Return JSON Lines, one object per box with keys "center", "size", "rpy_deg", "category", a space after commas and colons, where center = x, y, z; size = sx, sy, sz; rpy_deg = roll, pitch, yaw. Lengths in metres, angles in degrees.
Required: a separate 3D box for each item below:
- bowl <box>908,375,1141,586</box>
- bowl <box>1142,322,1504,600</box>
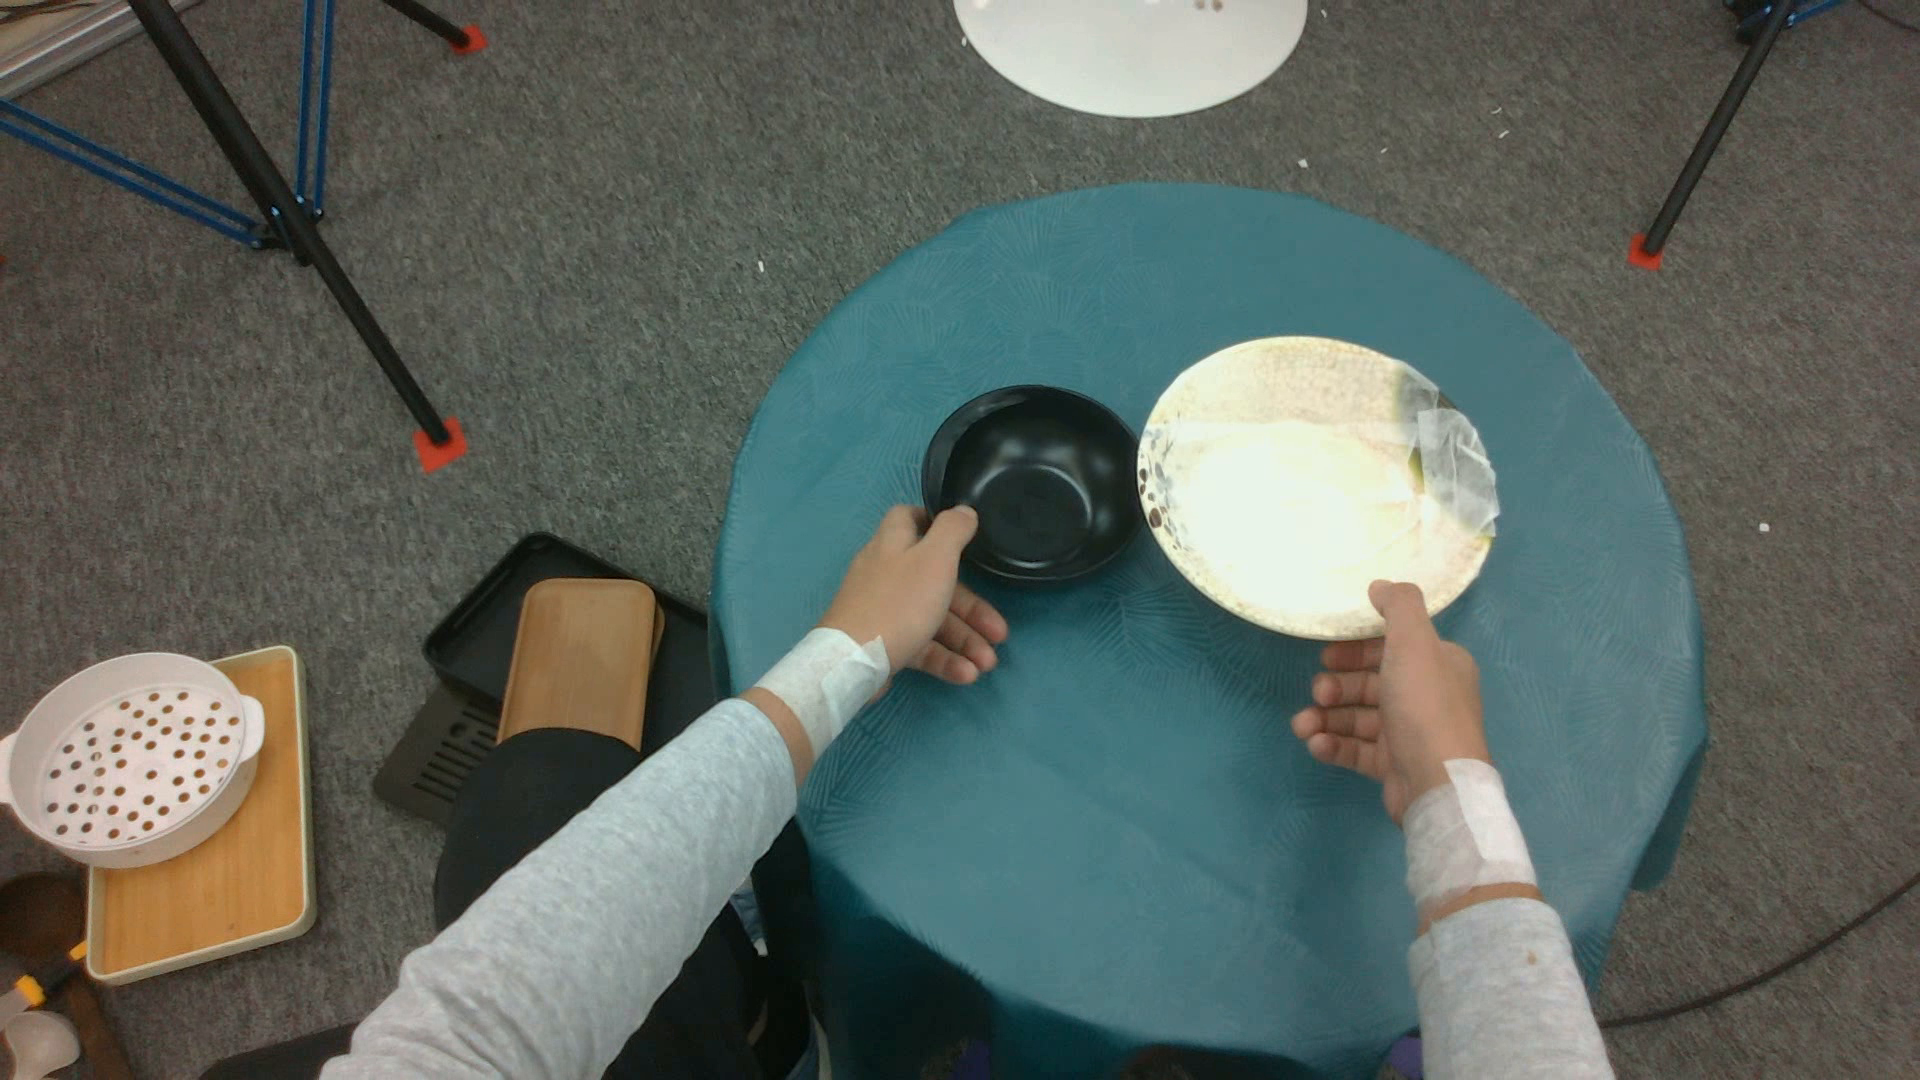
{"center": [0.039, -0.030, 0.841], "size": [0.140, 0.049, 0.140], "rpy_deg": [-1, 65, 2], "category": "bowl"}
{"center": [0.206, -0.031, 0.813], "size": [0.204, 0.077, 0.205], "rpy_deg": [0, 54, 0], "category": "bowl"}
